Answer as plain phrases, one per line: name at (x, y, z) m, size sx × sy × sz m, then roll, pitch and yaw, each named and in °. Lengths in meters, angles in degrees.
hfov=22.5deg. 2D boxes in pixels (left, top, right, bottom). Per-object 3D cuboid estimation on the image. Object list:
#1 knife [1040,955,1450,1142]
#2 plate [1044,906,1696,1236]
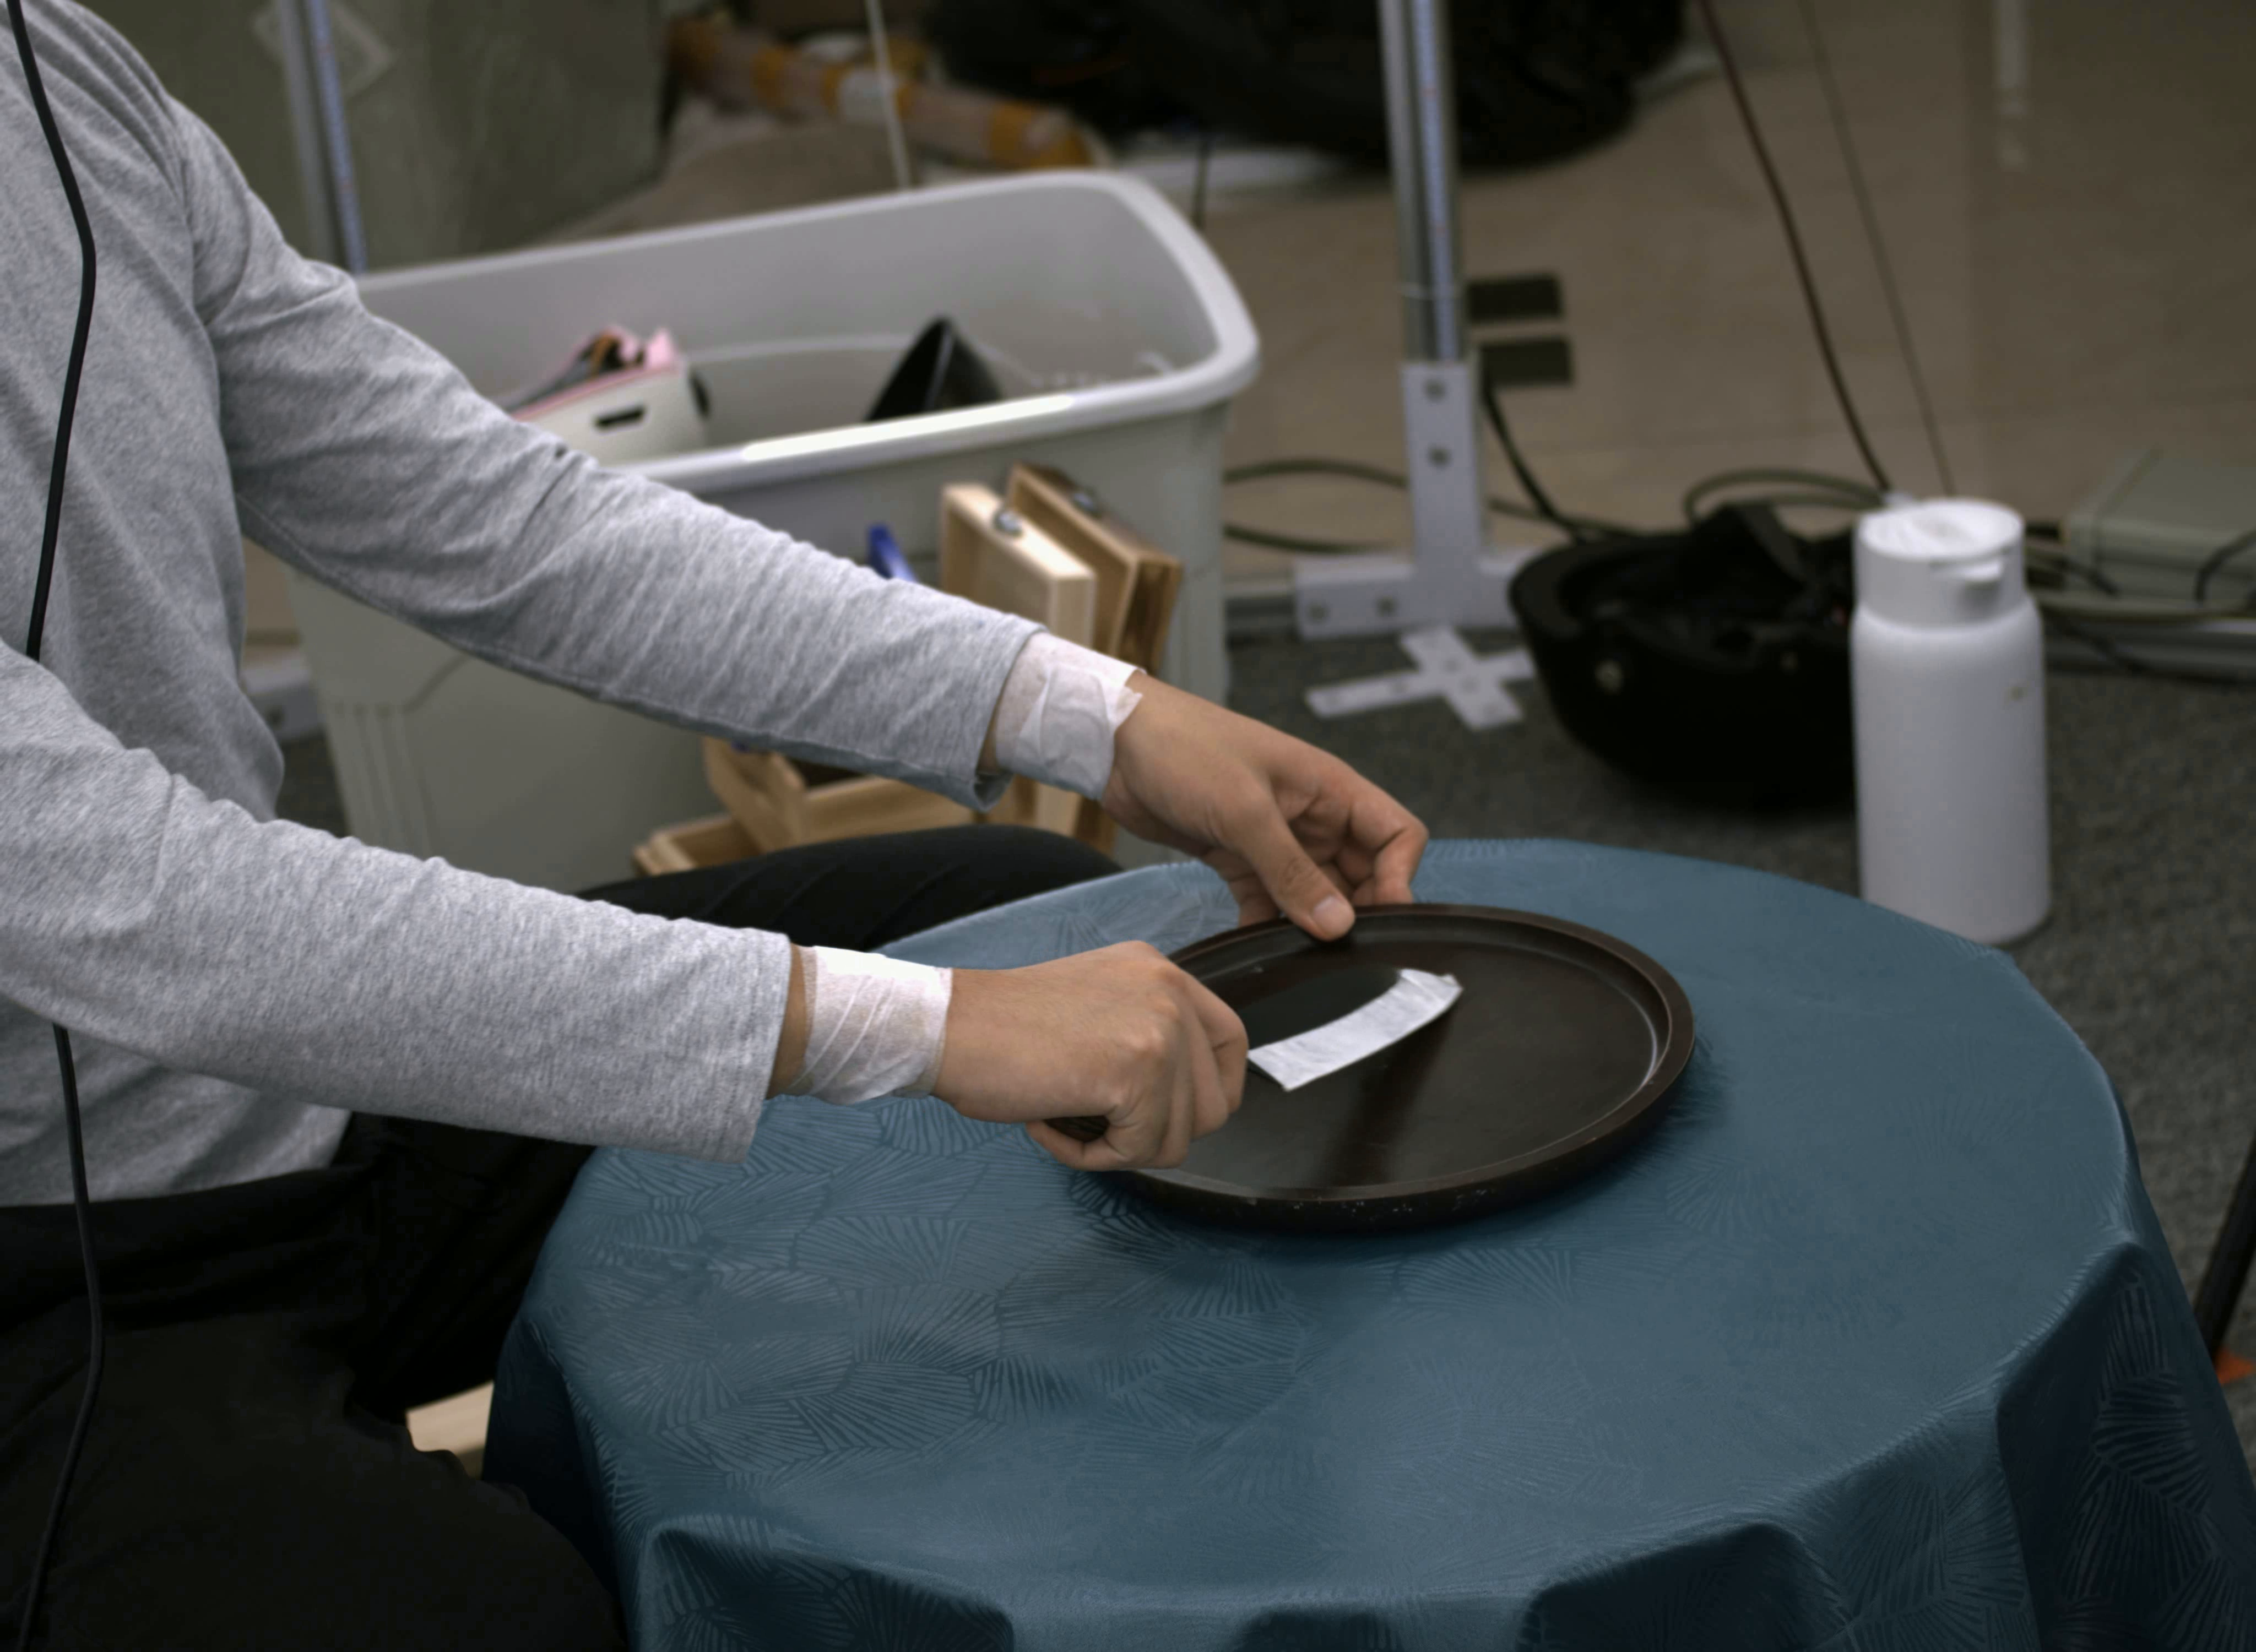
knife at (0.050, 0.081, 2.133) m, size 0.050 × 0.020 × 0.288 m, roll 39°, pitch 26°, yaw 21°
plate at (0.093, 0.093, 2.198) m, size 0.254 × 0.029 × 0.251 m, roll -7°, pitch 26°, yaw 3°
